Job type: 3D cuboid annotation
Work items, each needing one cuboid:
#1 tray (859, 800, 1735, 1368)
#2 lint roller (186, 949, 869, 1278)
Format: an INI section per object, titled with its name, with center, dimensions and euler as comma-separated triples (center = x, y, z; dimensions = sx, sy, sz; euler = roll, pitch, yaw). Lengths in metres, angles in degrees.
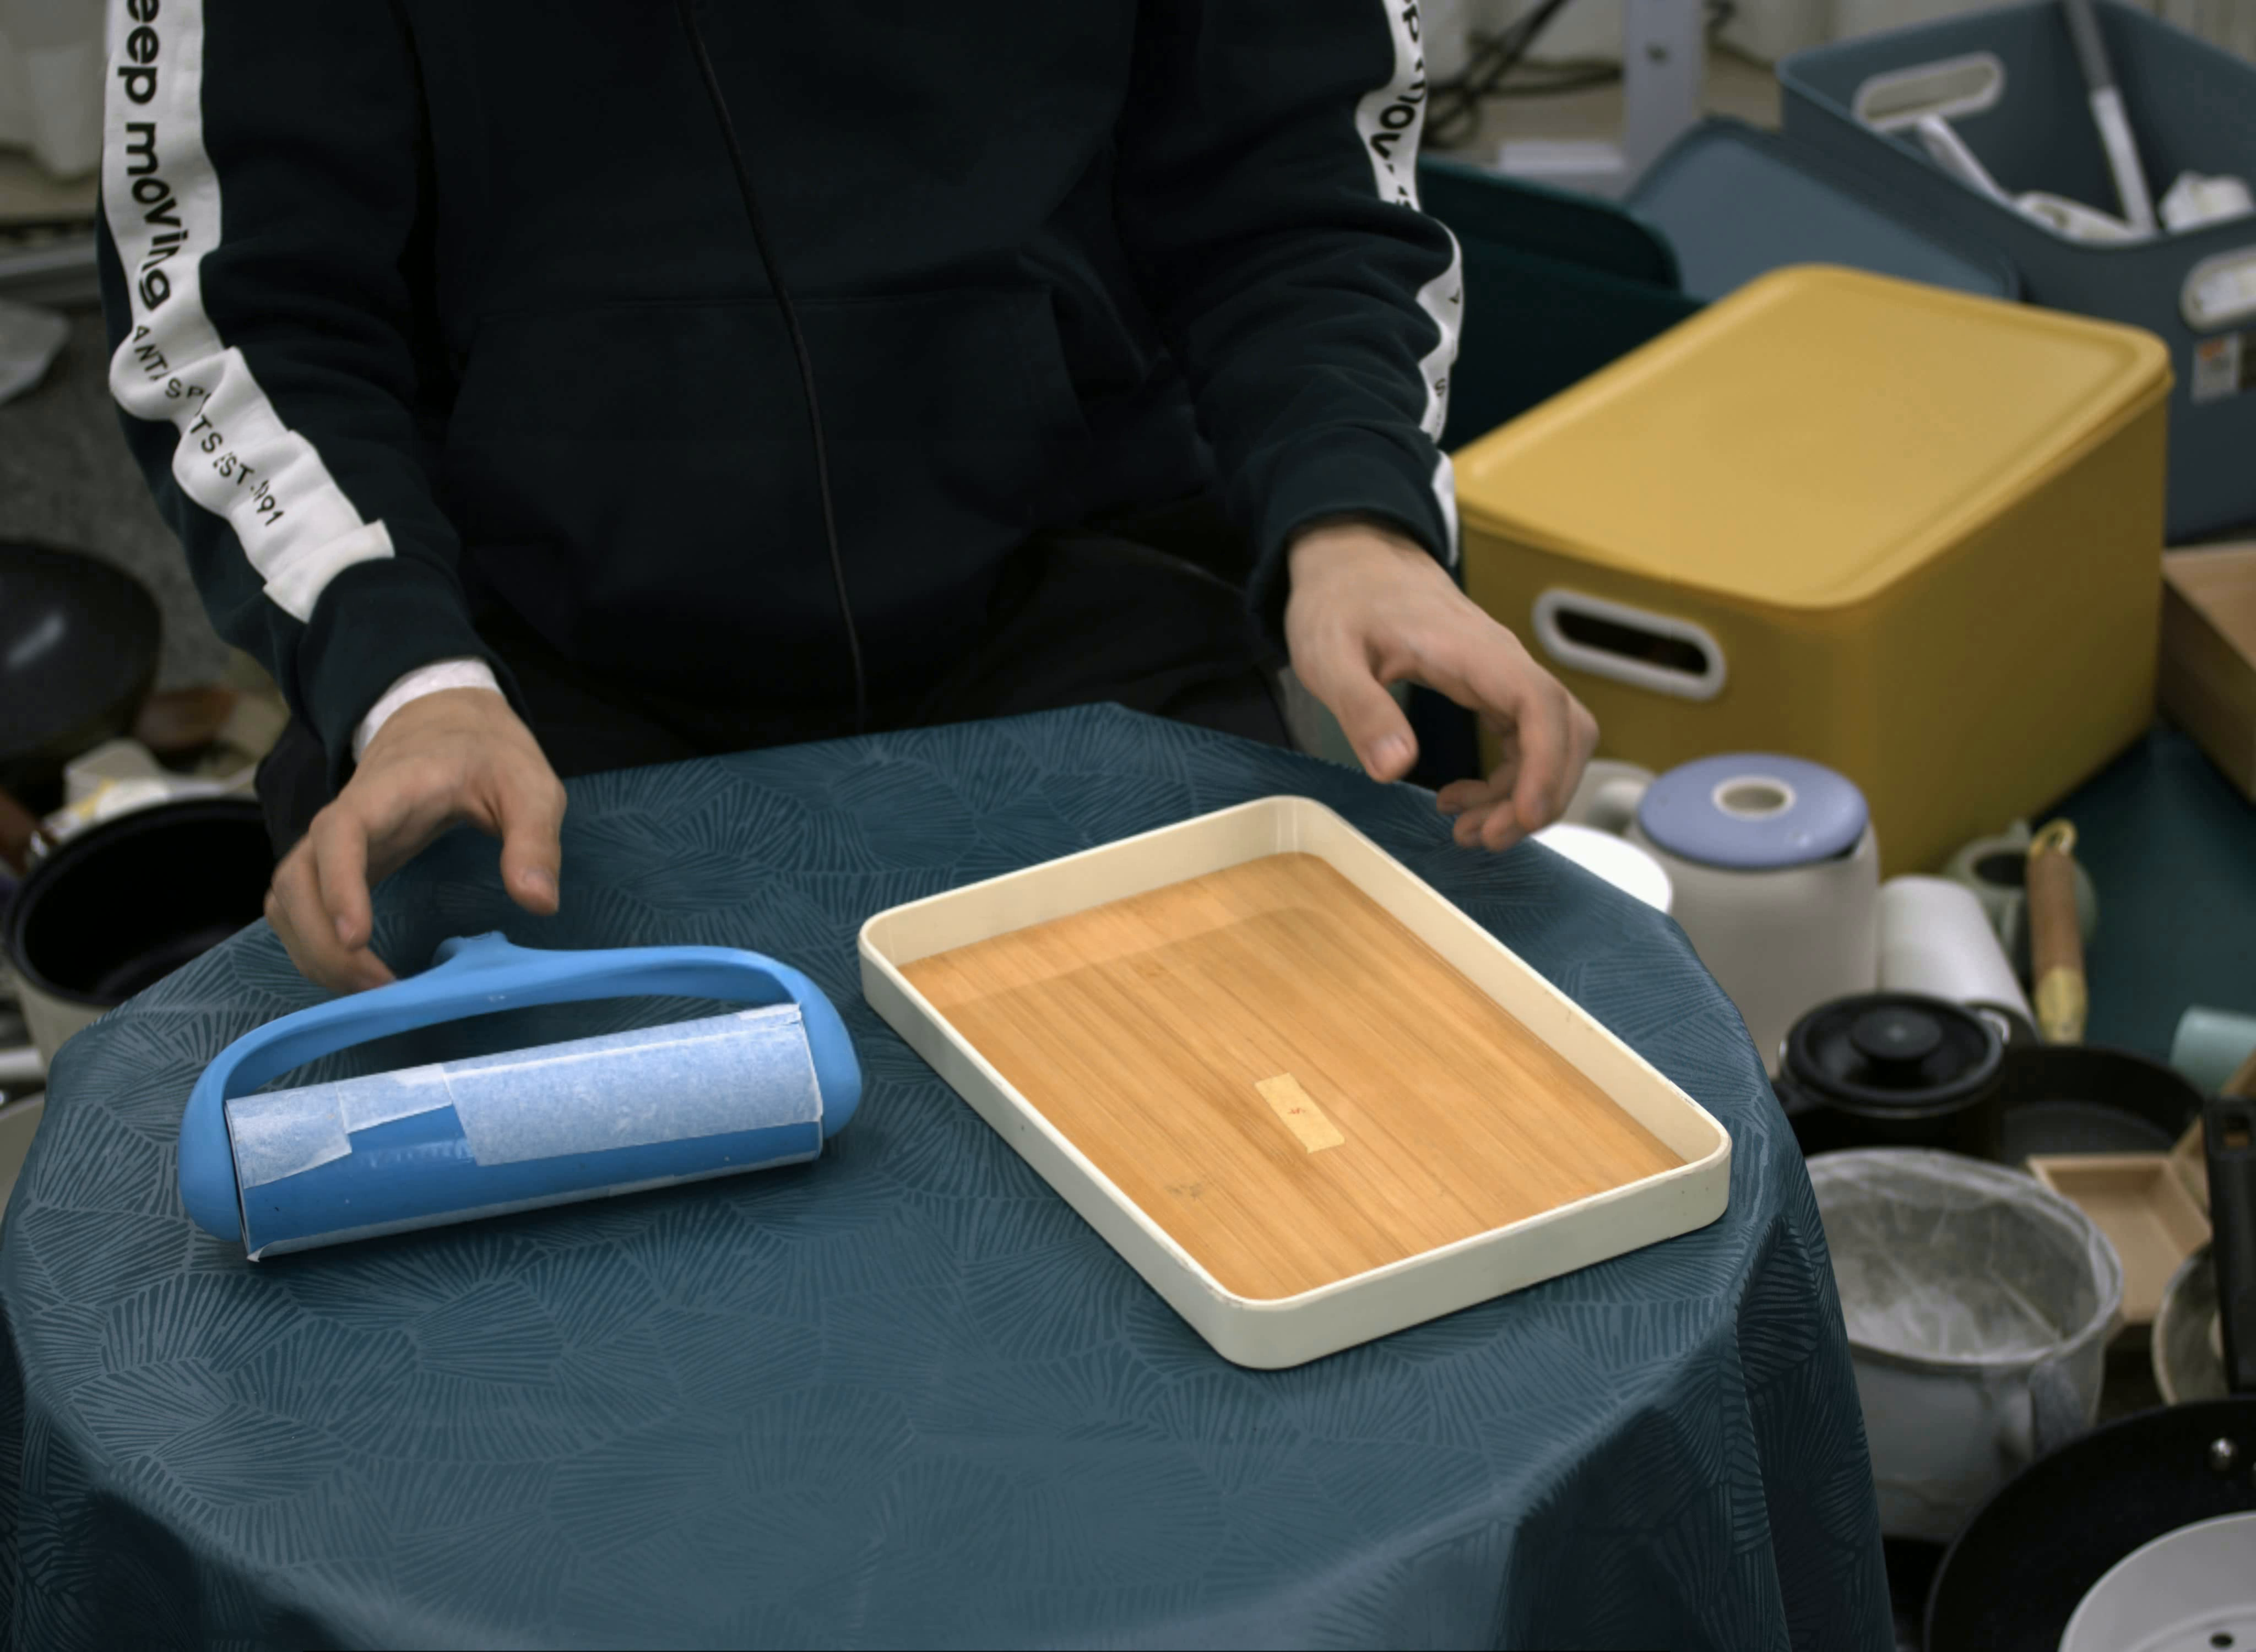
[tray]
center = 0.052, 0.081, 1.904
dimensions = 0.192, 0.027, 0.302
euler = -16, 30, -23
[lint roller]
center = -0.216, 0.077, 1.908
dimensions = 0.229, 0.067, 0.182
euler = -13, 30, -15
